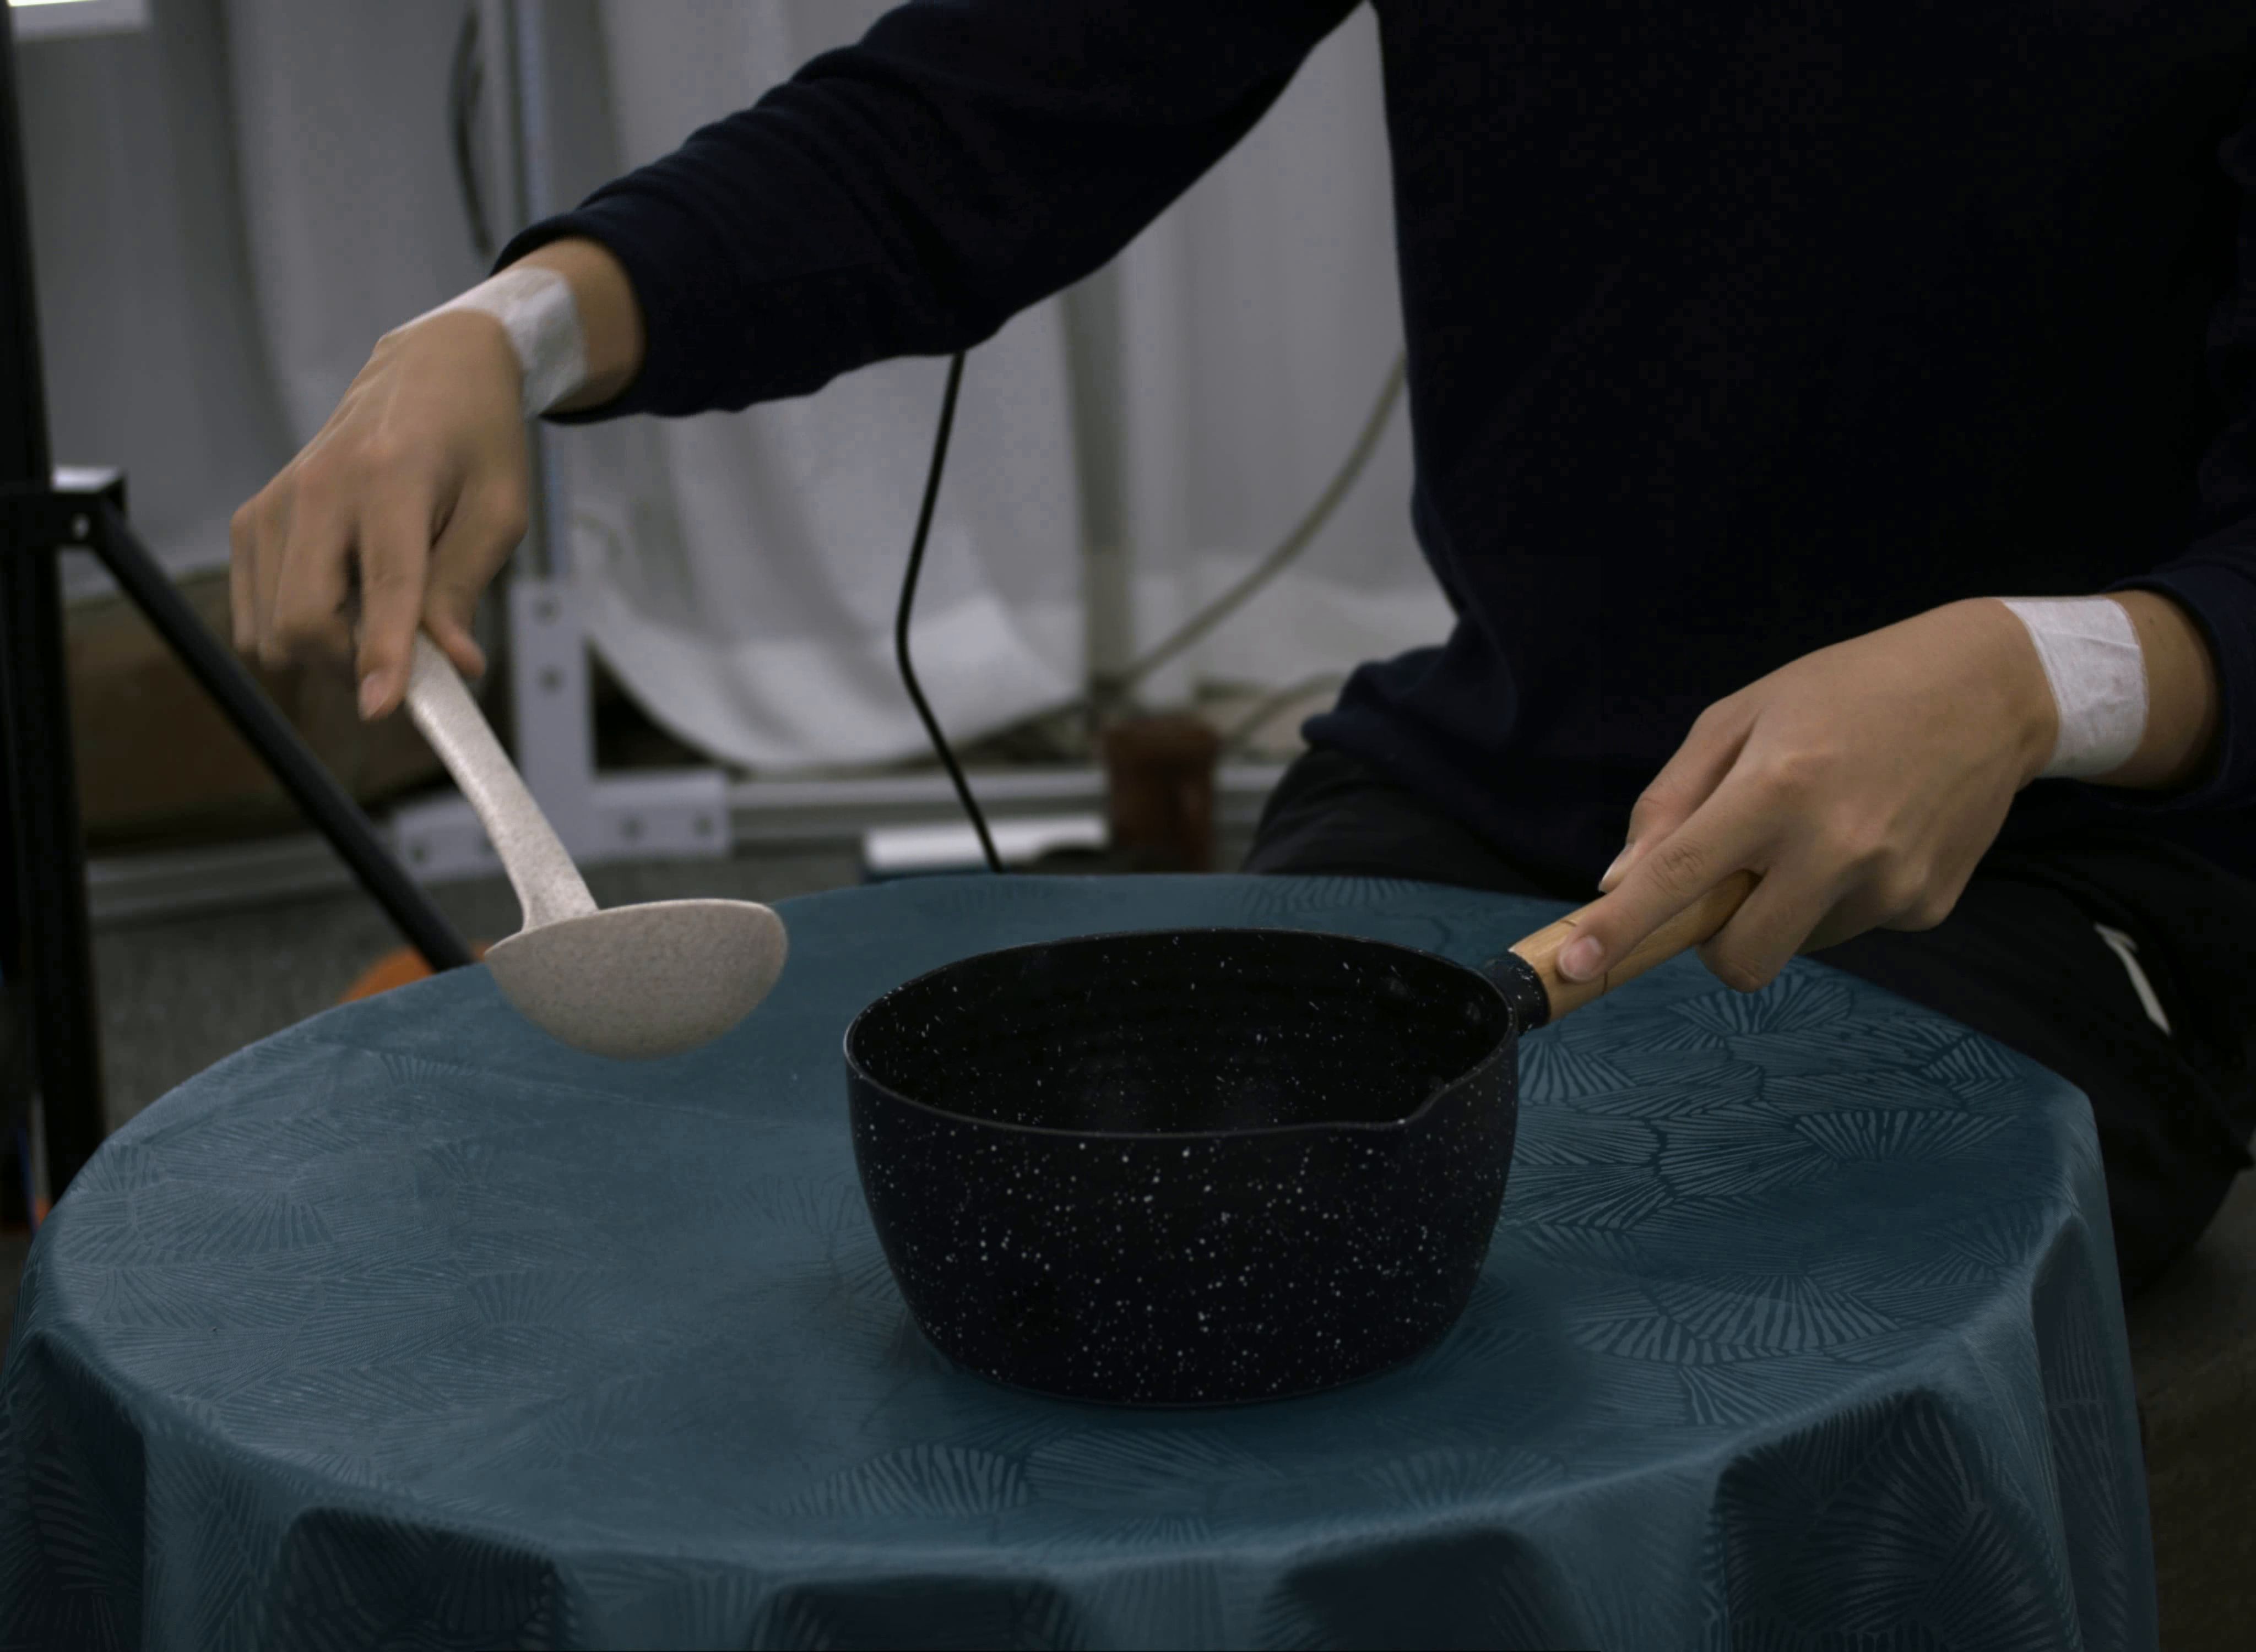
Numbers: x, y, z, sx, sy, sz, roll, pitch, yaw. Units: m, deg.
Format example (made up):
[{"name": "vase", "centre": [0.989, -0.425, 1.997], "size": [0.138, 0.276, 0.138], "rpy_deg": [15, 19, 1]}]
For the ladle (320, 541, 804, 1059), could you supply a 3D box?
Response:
[{"name": "ladle", "centre": [-0.176, -0.031, 1.527], "size": [0.087, 0.069, 0.281], "rpy_deg": [-2, 36, -28]}]

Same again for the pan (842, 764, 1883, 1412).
[{"name": "pan", "centre": [0.079, 0.068, 1.489], "size": [0.335, 0.108, 0.212], "rpy_deg": [-15, 18, -32]}]
